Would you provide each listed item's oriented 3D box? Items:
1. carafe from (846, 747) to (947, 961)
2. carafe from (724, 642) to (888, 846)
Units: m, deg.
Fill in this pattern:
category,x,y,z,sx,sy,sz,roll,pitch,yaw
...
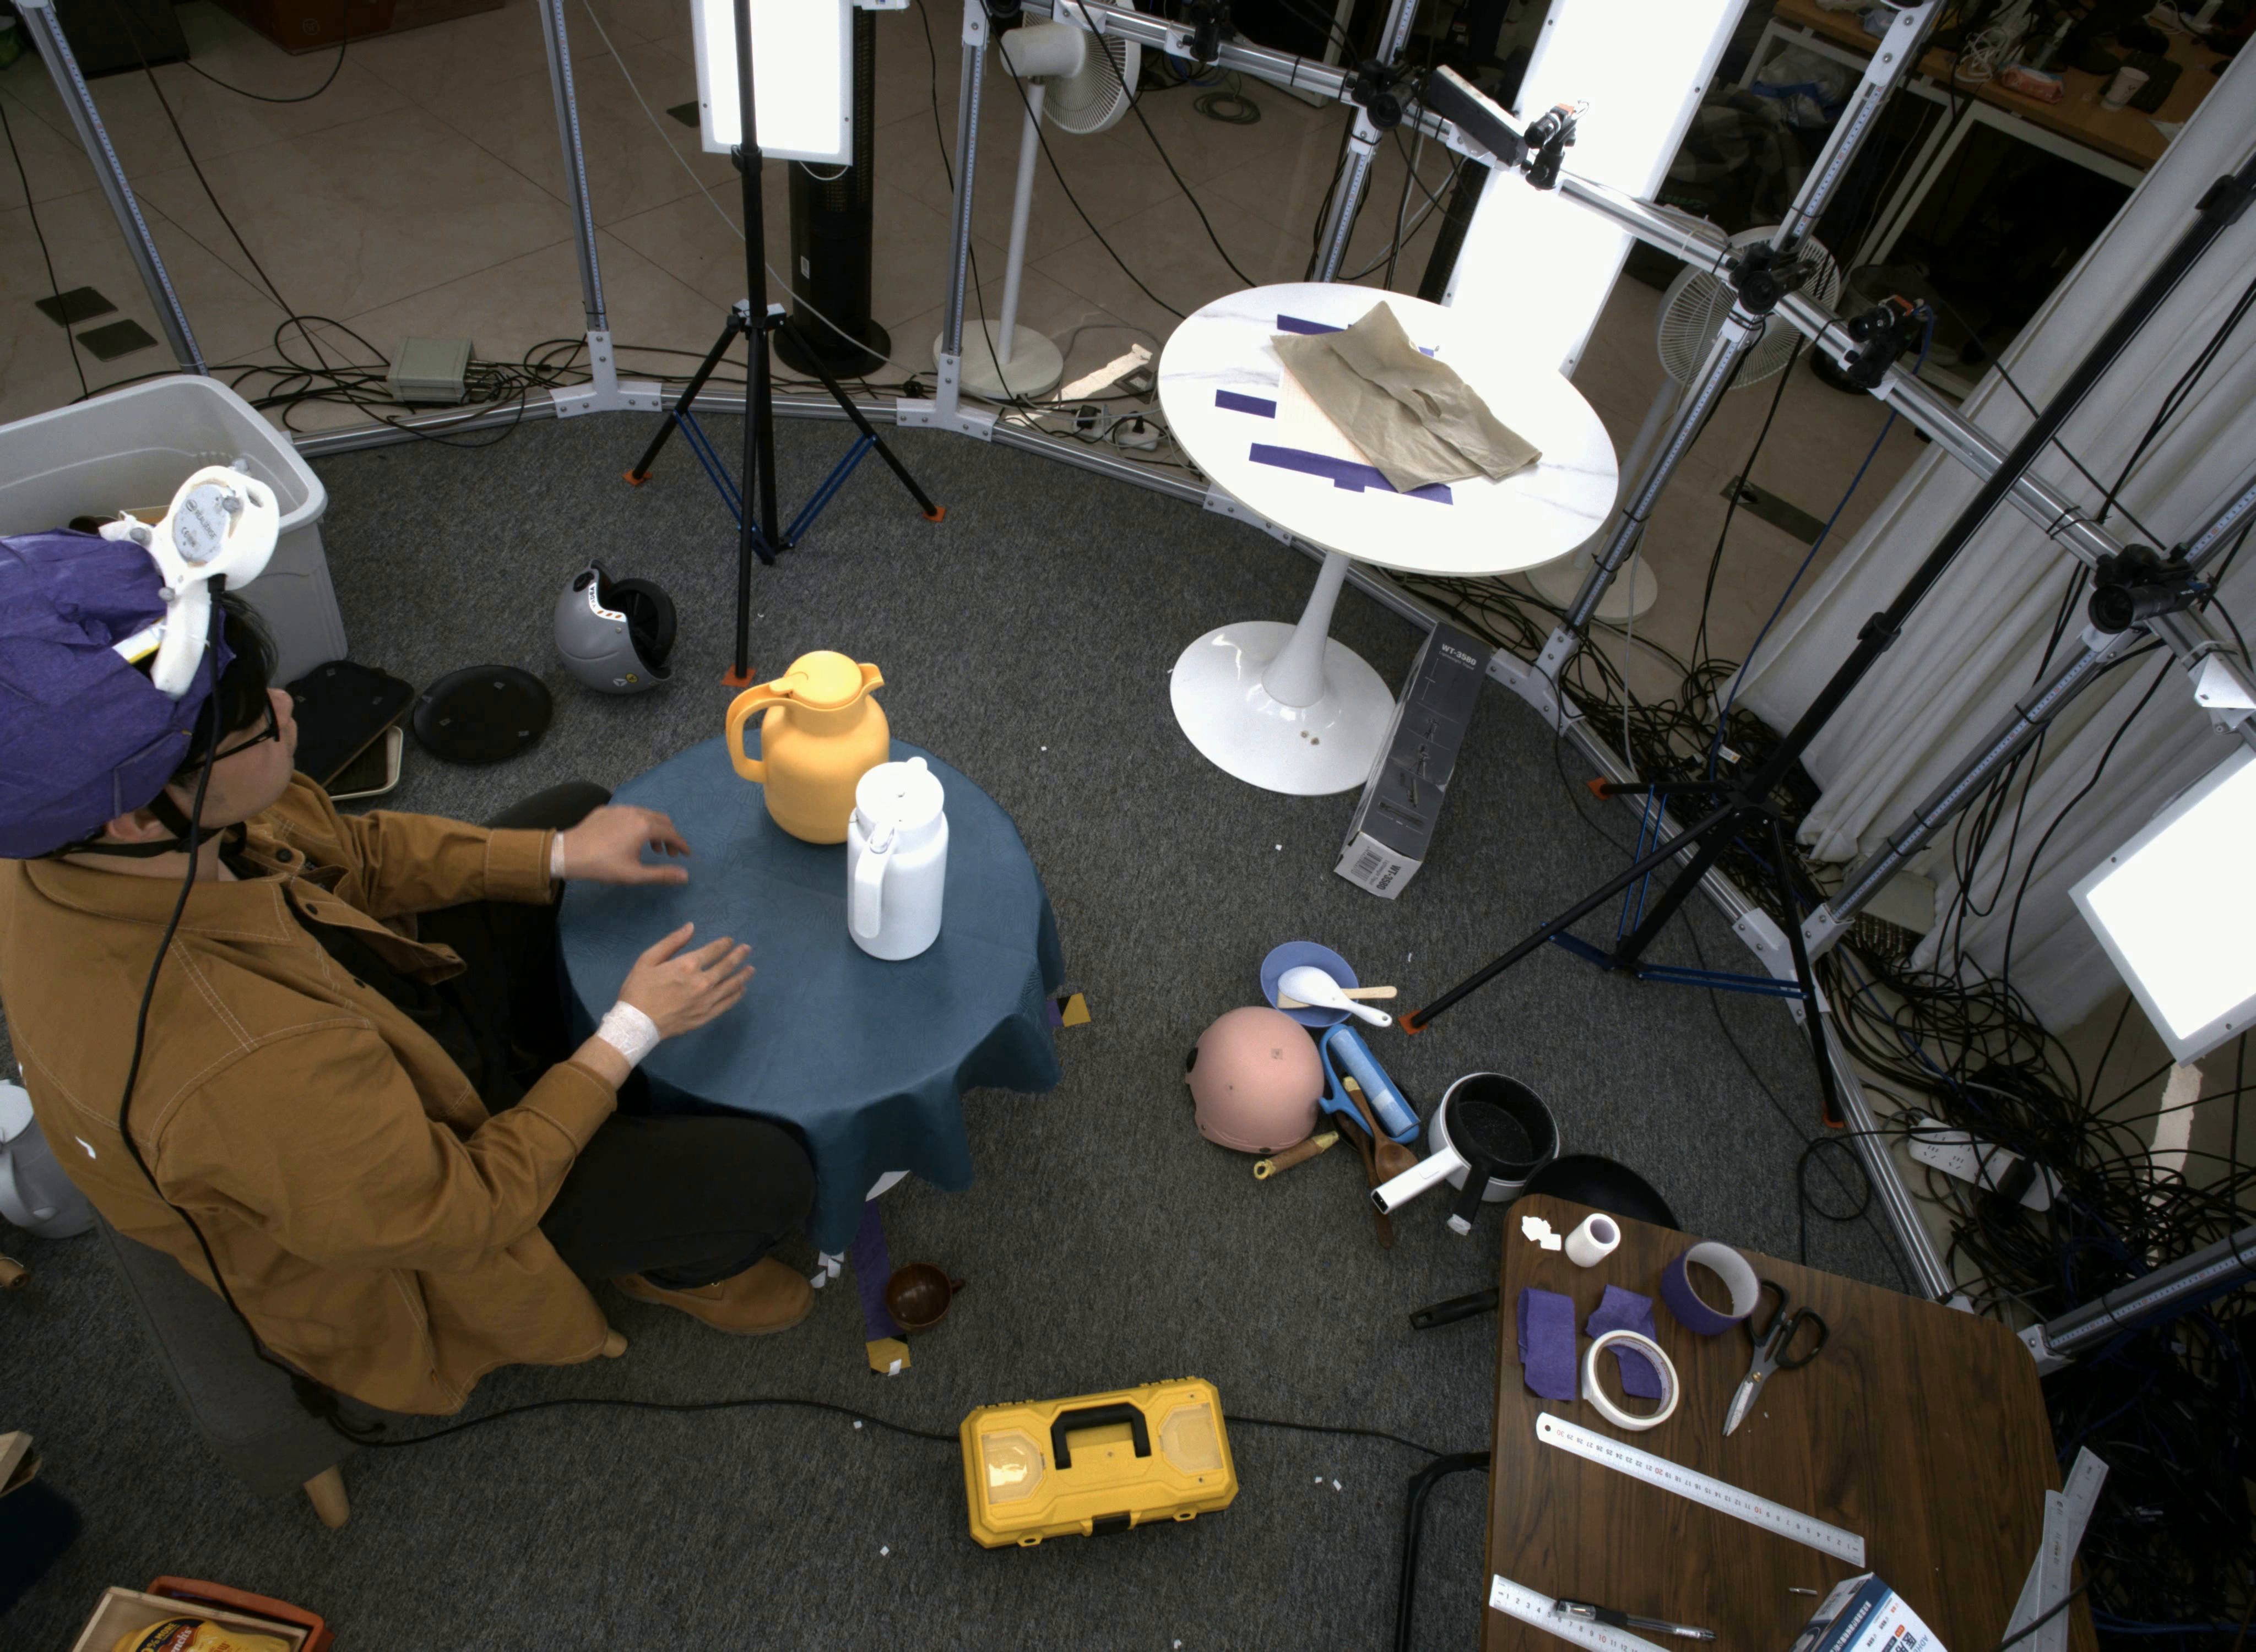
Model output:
category,x,y,z,sx,sy,sz,roll,pitch,yaw
carafe,-0.281,0.054,1.545,0.123,0.274,0.171,17,51,-1
carafe,-0.404,-0.106,1.635,0.203,0.266,0.159,-10,52,-22
